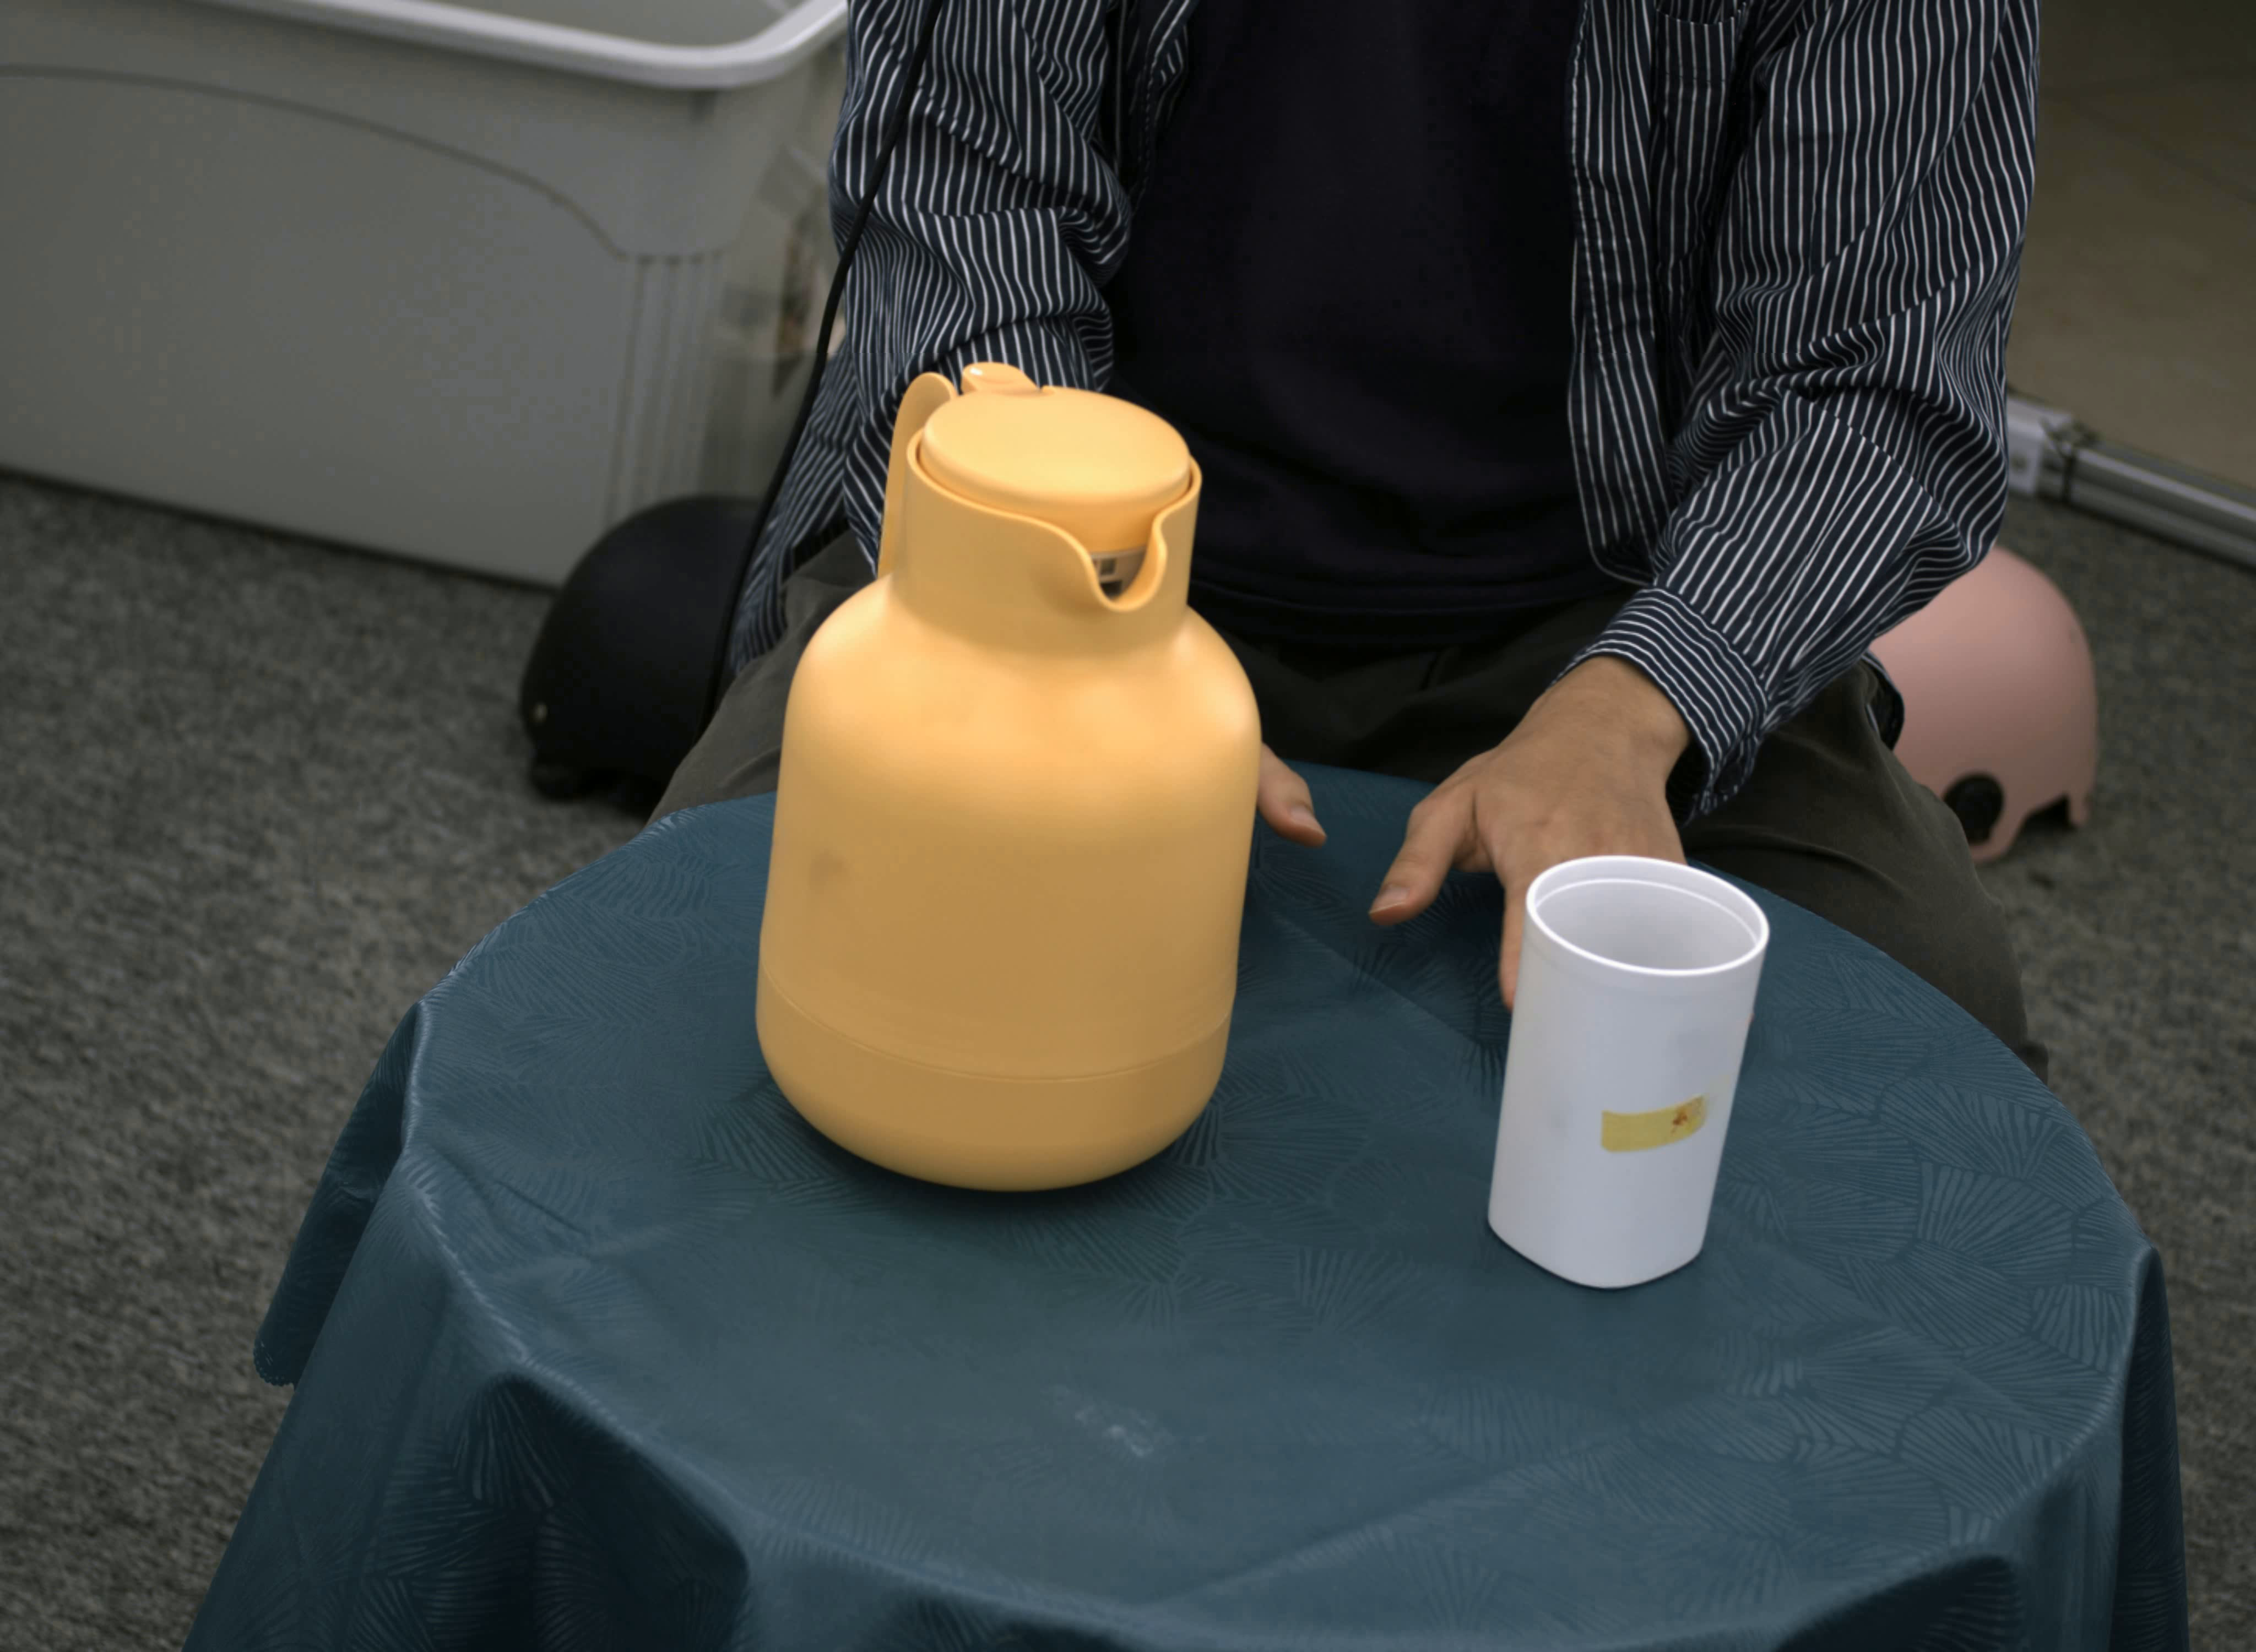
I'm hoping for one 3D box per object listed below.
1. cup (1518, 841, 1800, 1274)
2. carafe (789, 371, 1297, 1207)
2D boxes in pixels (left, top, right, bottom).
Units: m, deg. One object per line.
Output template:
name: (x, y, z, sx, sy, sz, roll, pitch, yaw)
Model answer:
cup: (0.176, 0.079, 1.781, 0.081, 0.125, 0.082, 5, 27, -3)
carafe: (-0.031, -0.022, 1.794, 0.162, 0.259, 0.204, -4, 28, -23)
